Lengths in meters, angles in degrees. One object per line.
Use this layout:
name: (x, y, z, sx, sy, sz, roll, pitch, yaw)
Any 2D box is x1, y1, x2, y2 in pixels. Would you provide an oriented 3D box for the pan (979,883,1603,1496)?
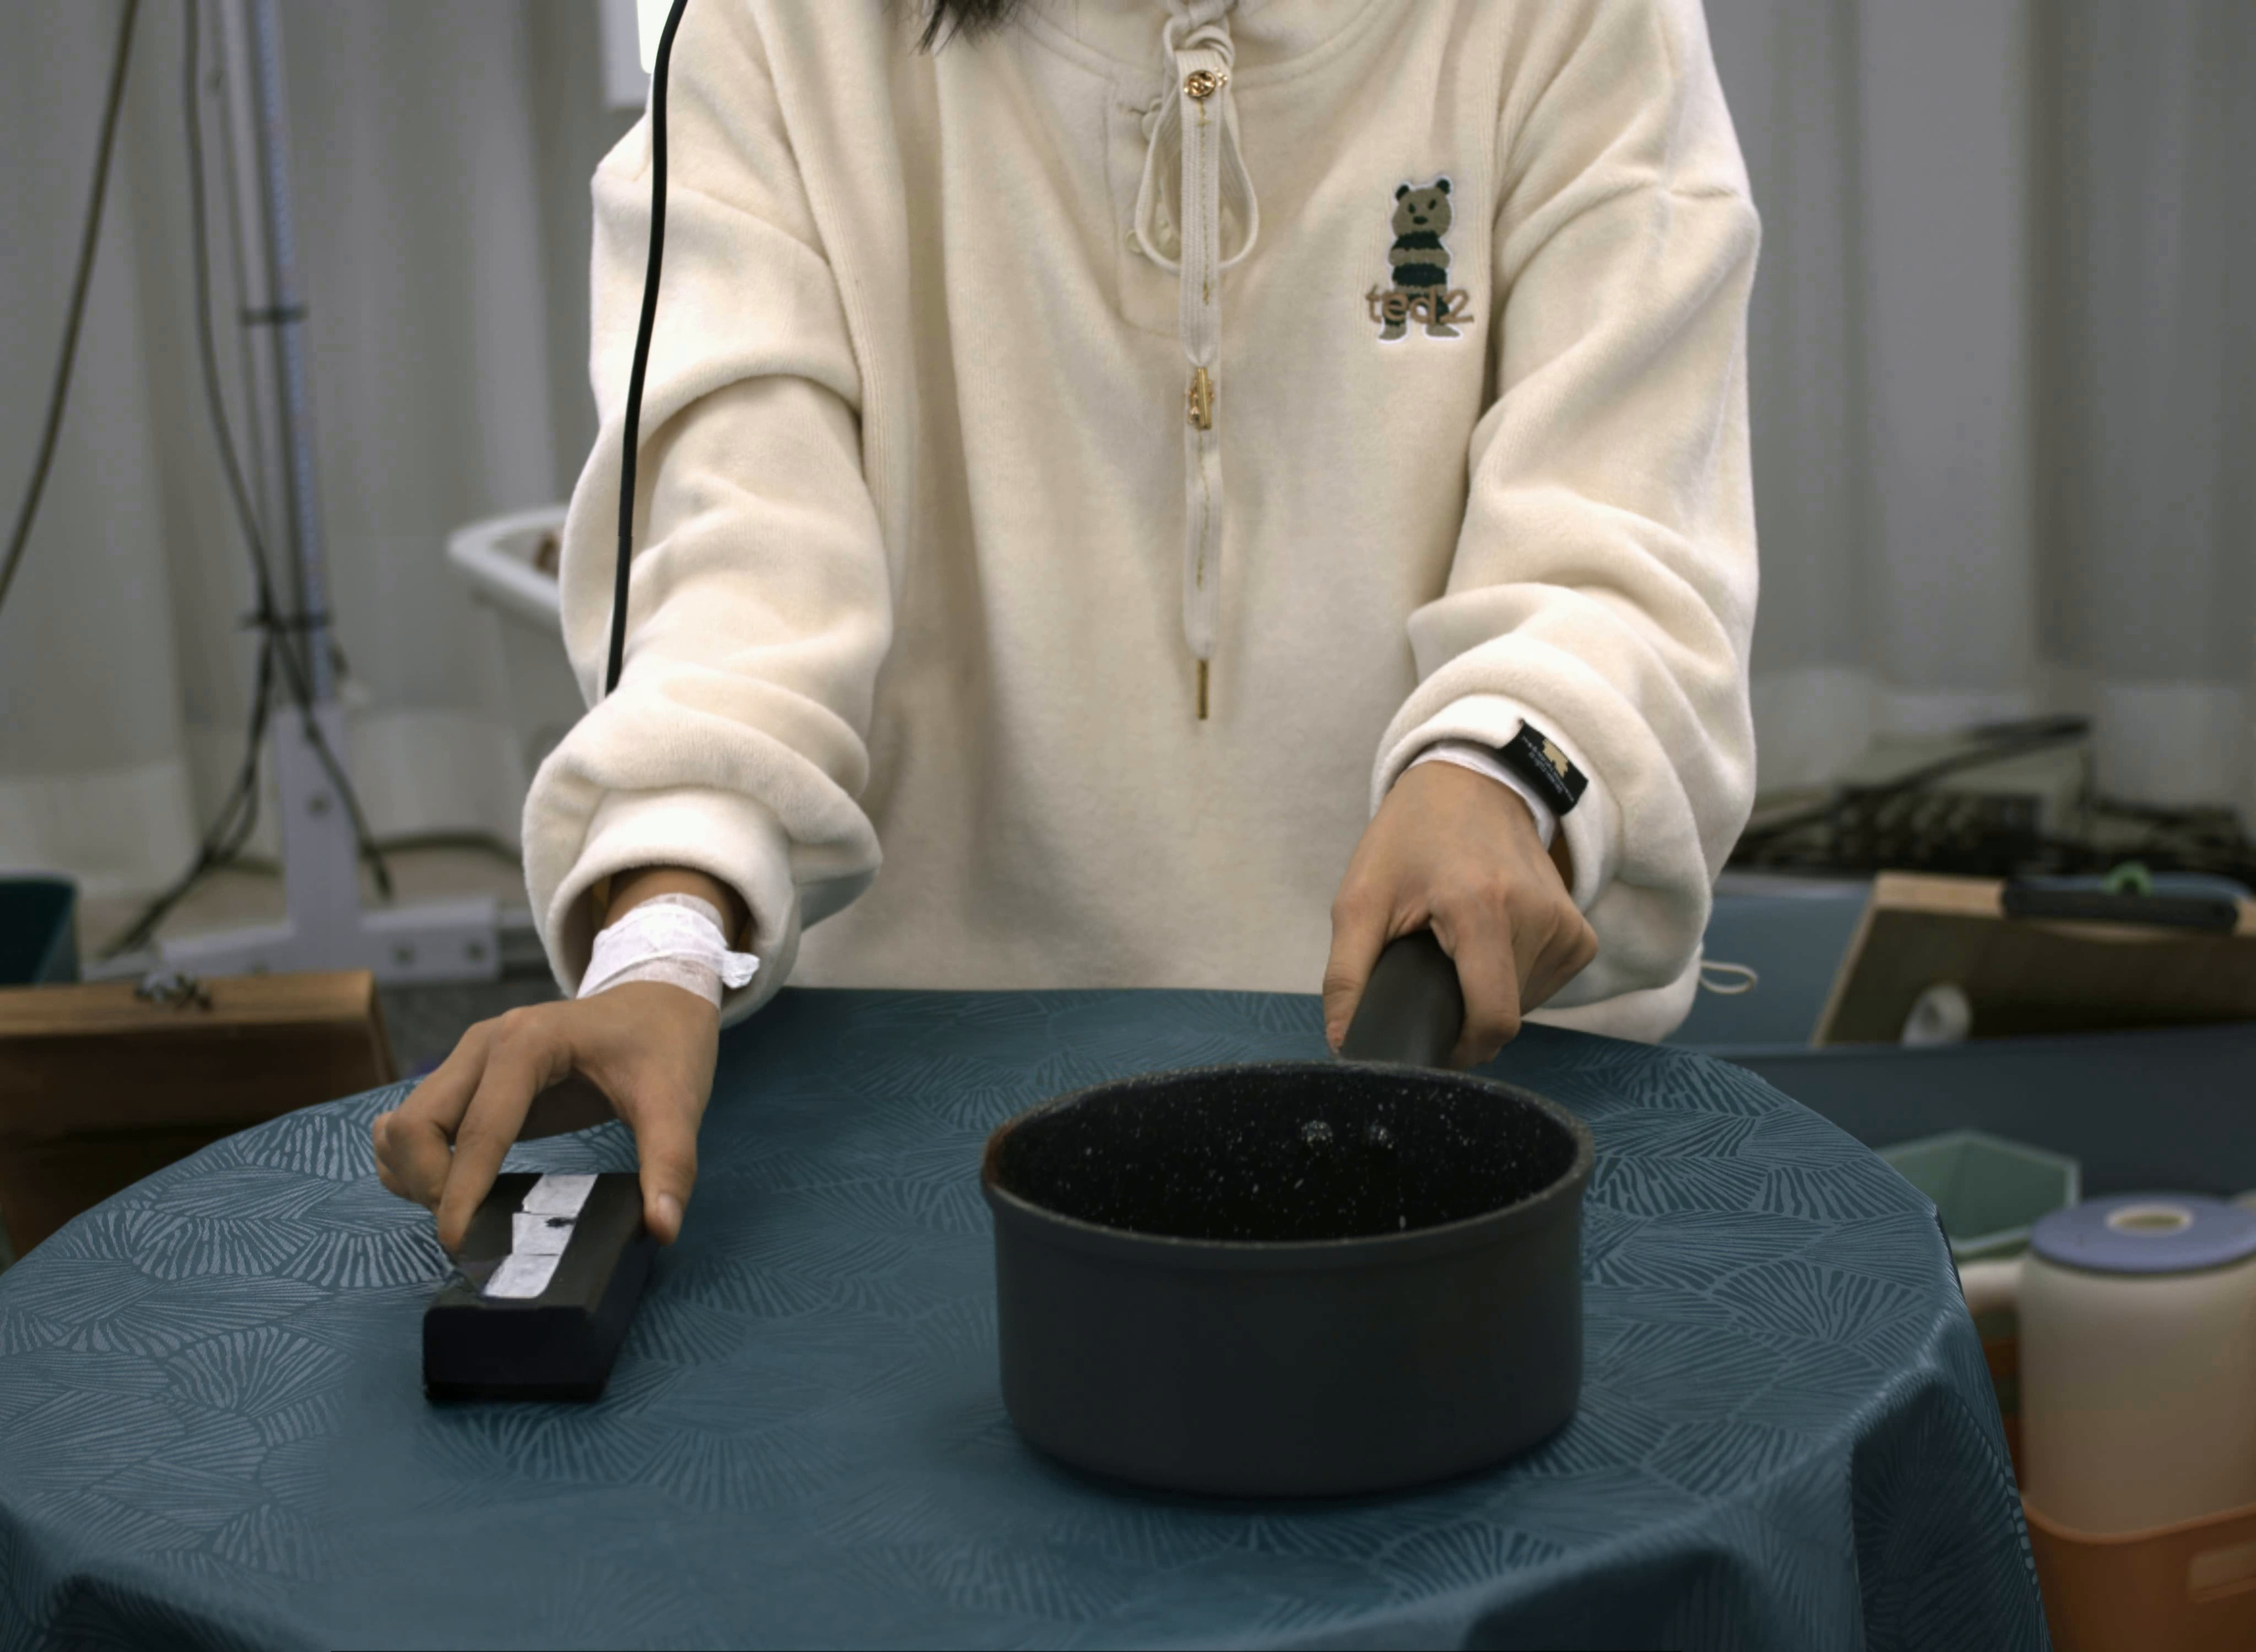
pan: (0.068, 0.101, 1.588, 0.172, 0.086, 0.330, 3, 16, 17)

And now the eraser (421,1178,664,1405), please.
eraser: (-0.171, 0.136, 1.612, 0.053, 0.030, 0.126, 2, 14, 3)
